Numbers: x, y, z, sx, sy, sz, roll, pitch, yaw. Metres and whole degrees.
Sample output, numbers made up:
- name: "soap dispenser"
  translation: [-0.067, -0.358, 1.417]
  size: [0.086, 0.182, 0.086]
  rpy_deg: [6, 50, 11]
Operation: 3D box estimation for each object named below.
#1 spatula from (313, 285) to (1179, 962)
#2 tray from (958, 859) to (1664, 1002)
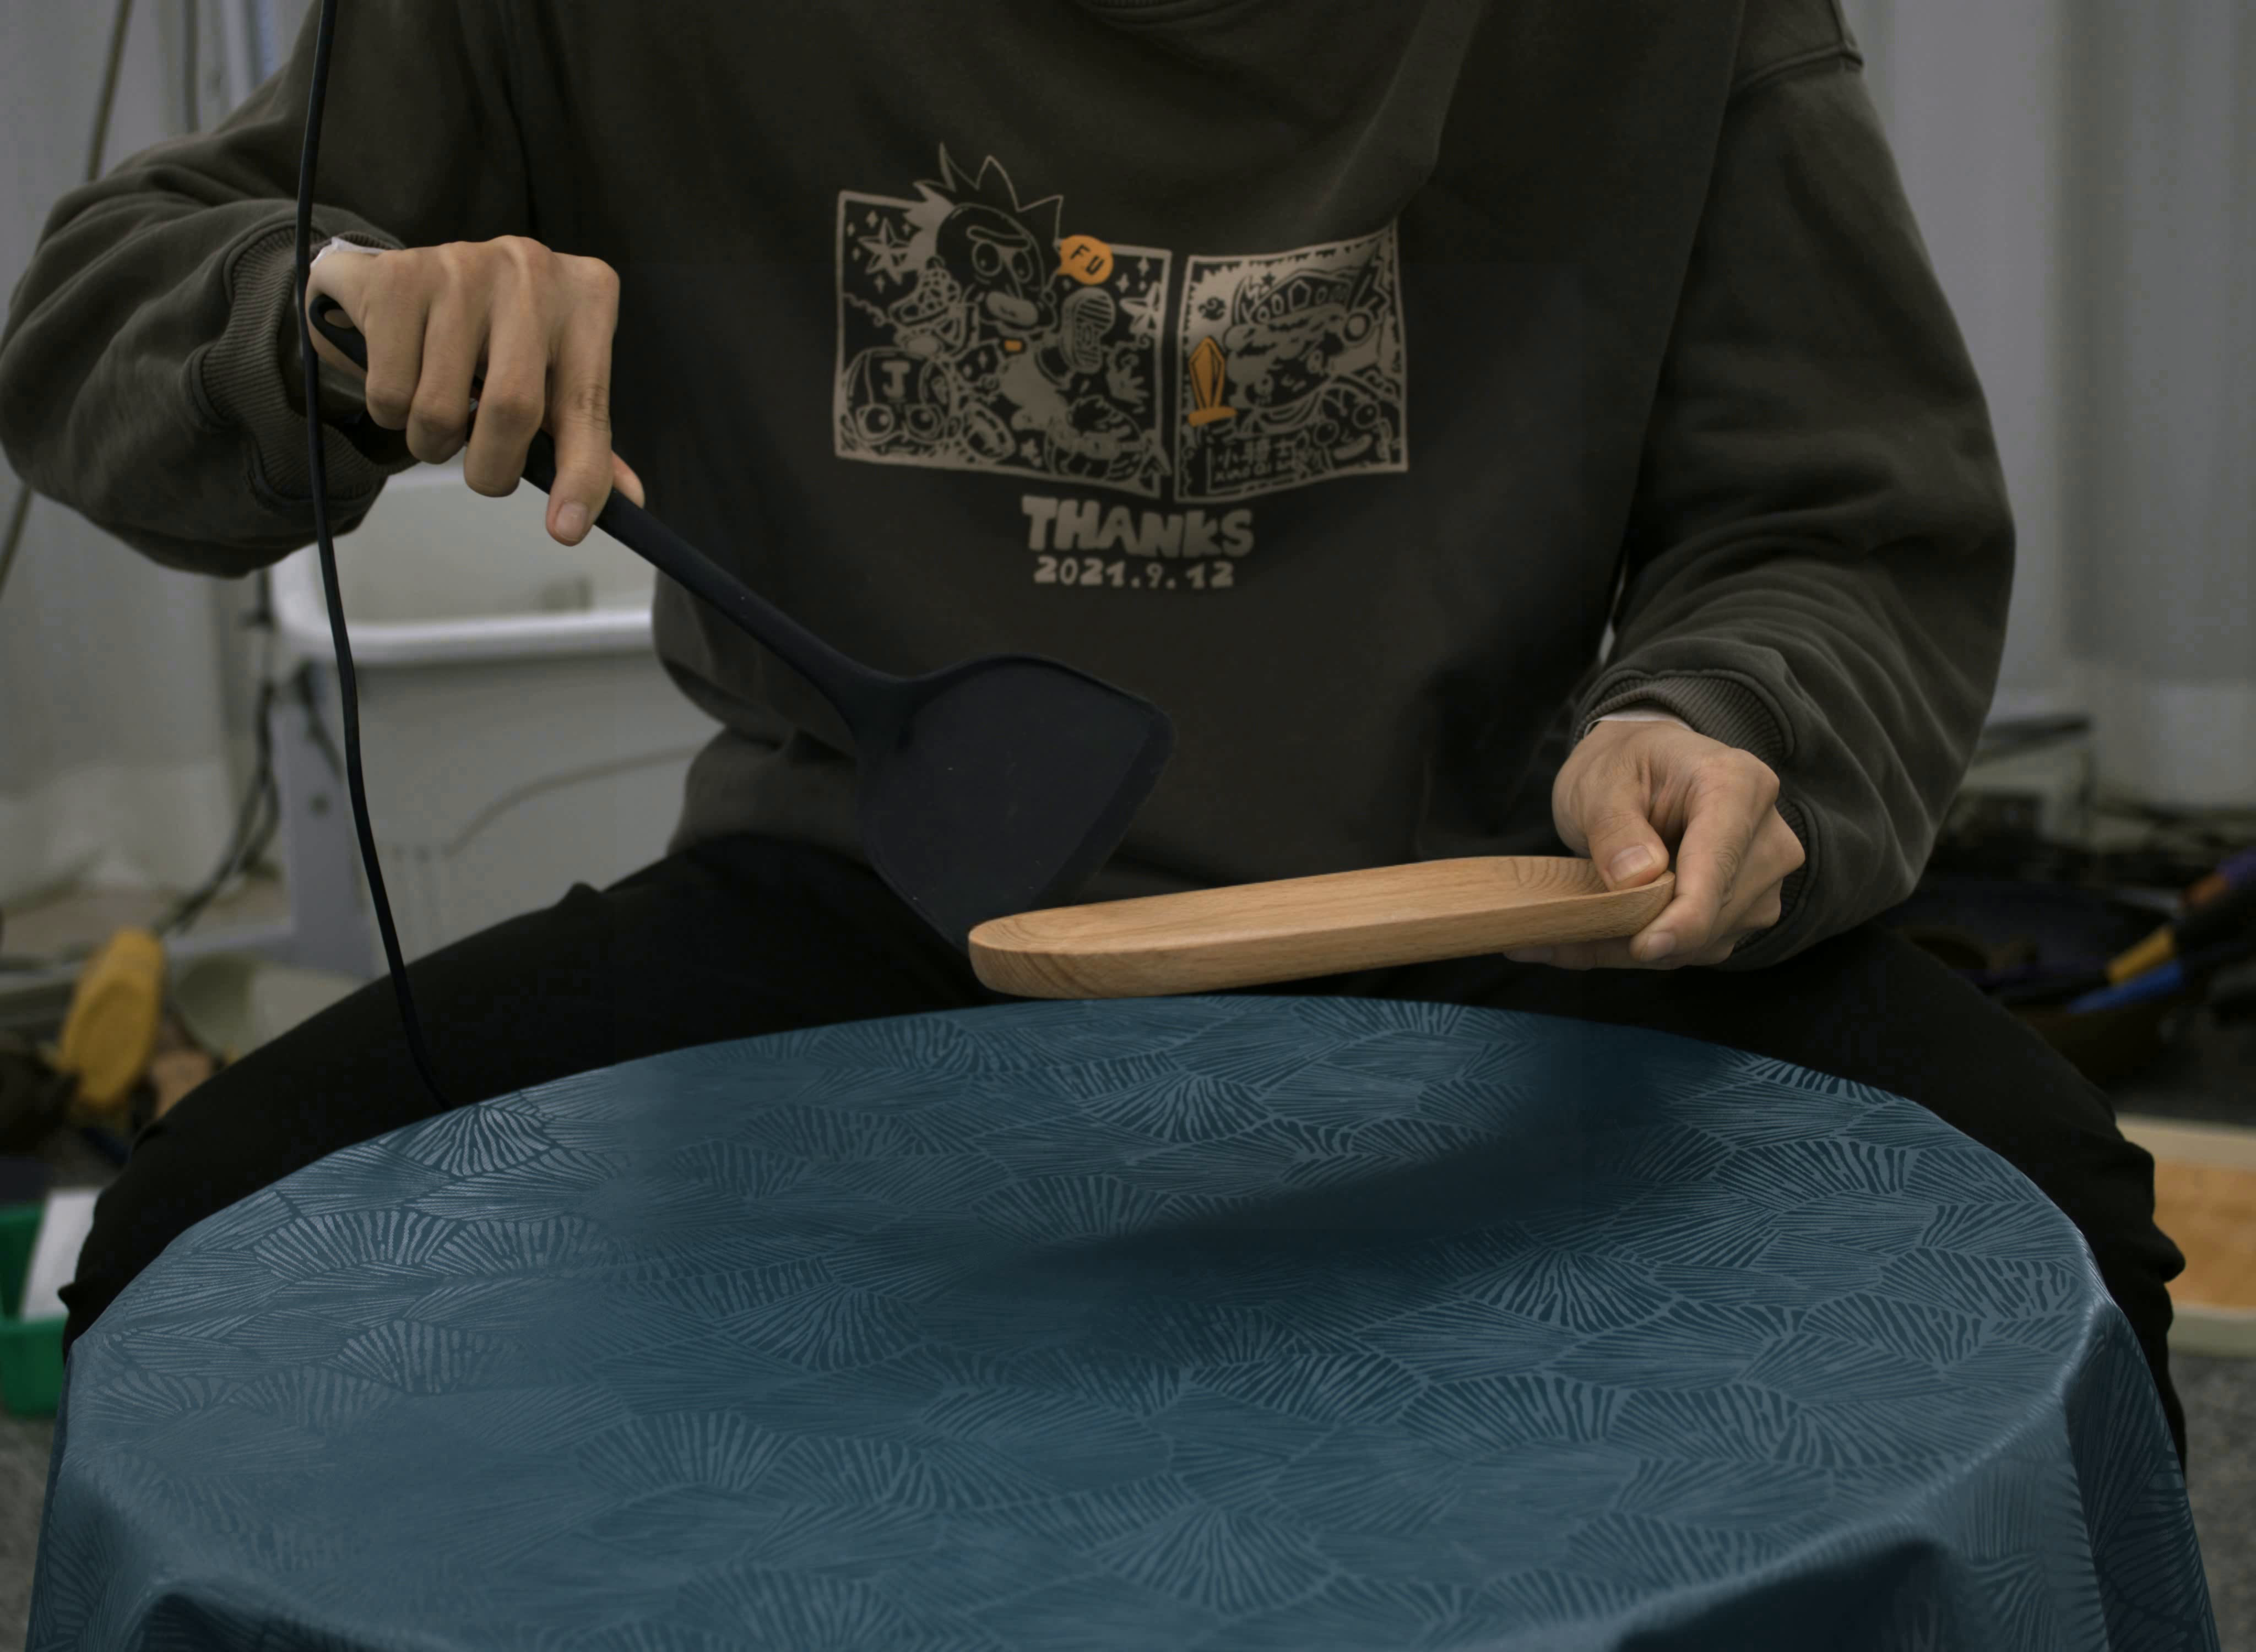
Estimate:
- name: "spatula"
  translation: [-0.134, -0.080, 1.727]
  size: [0.327, 0.100, 0.040]
  rpy_deg: [36, -8, 11]
- name: "tray"
  translation: [0.057, 0.031, 1.659]
  size: [0.230, 0.020, 0.102]
  rpy_deg: [-8, 8, -27]
